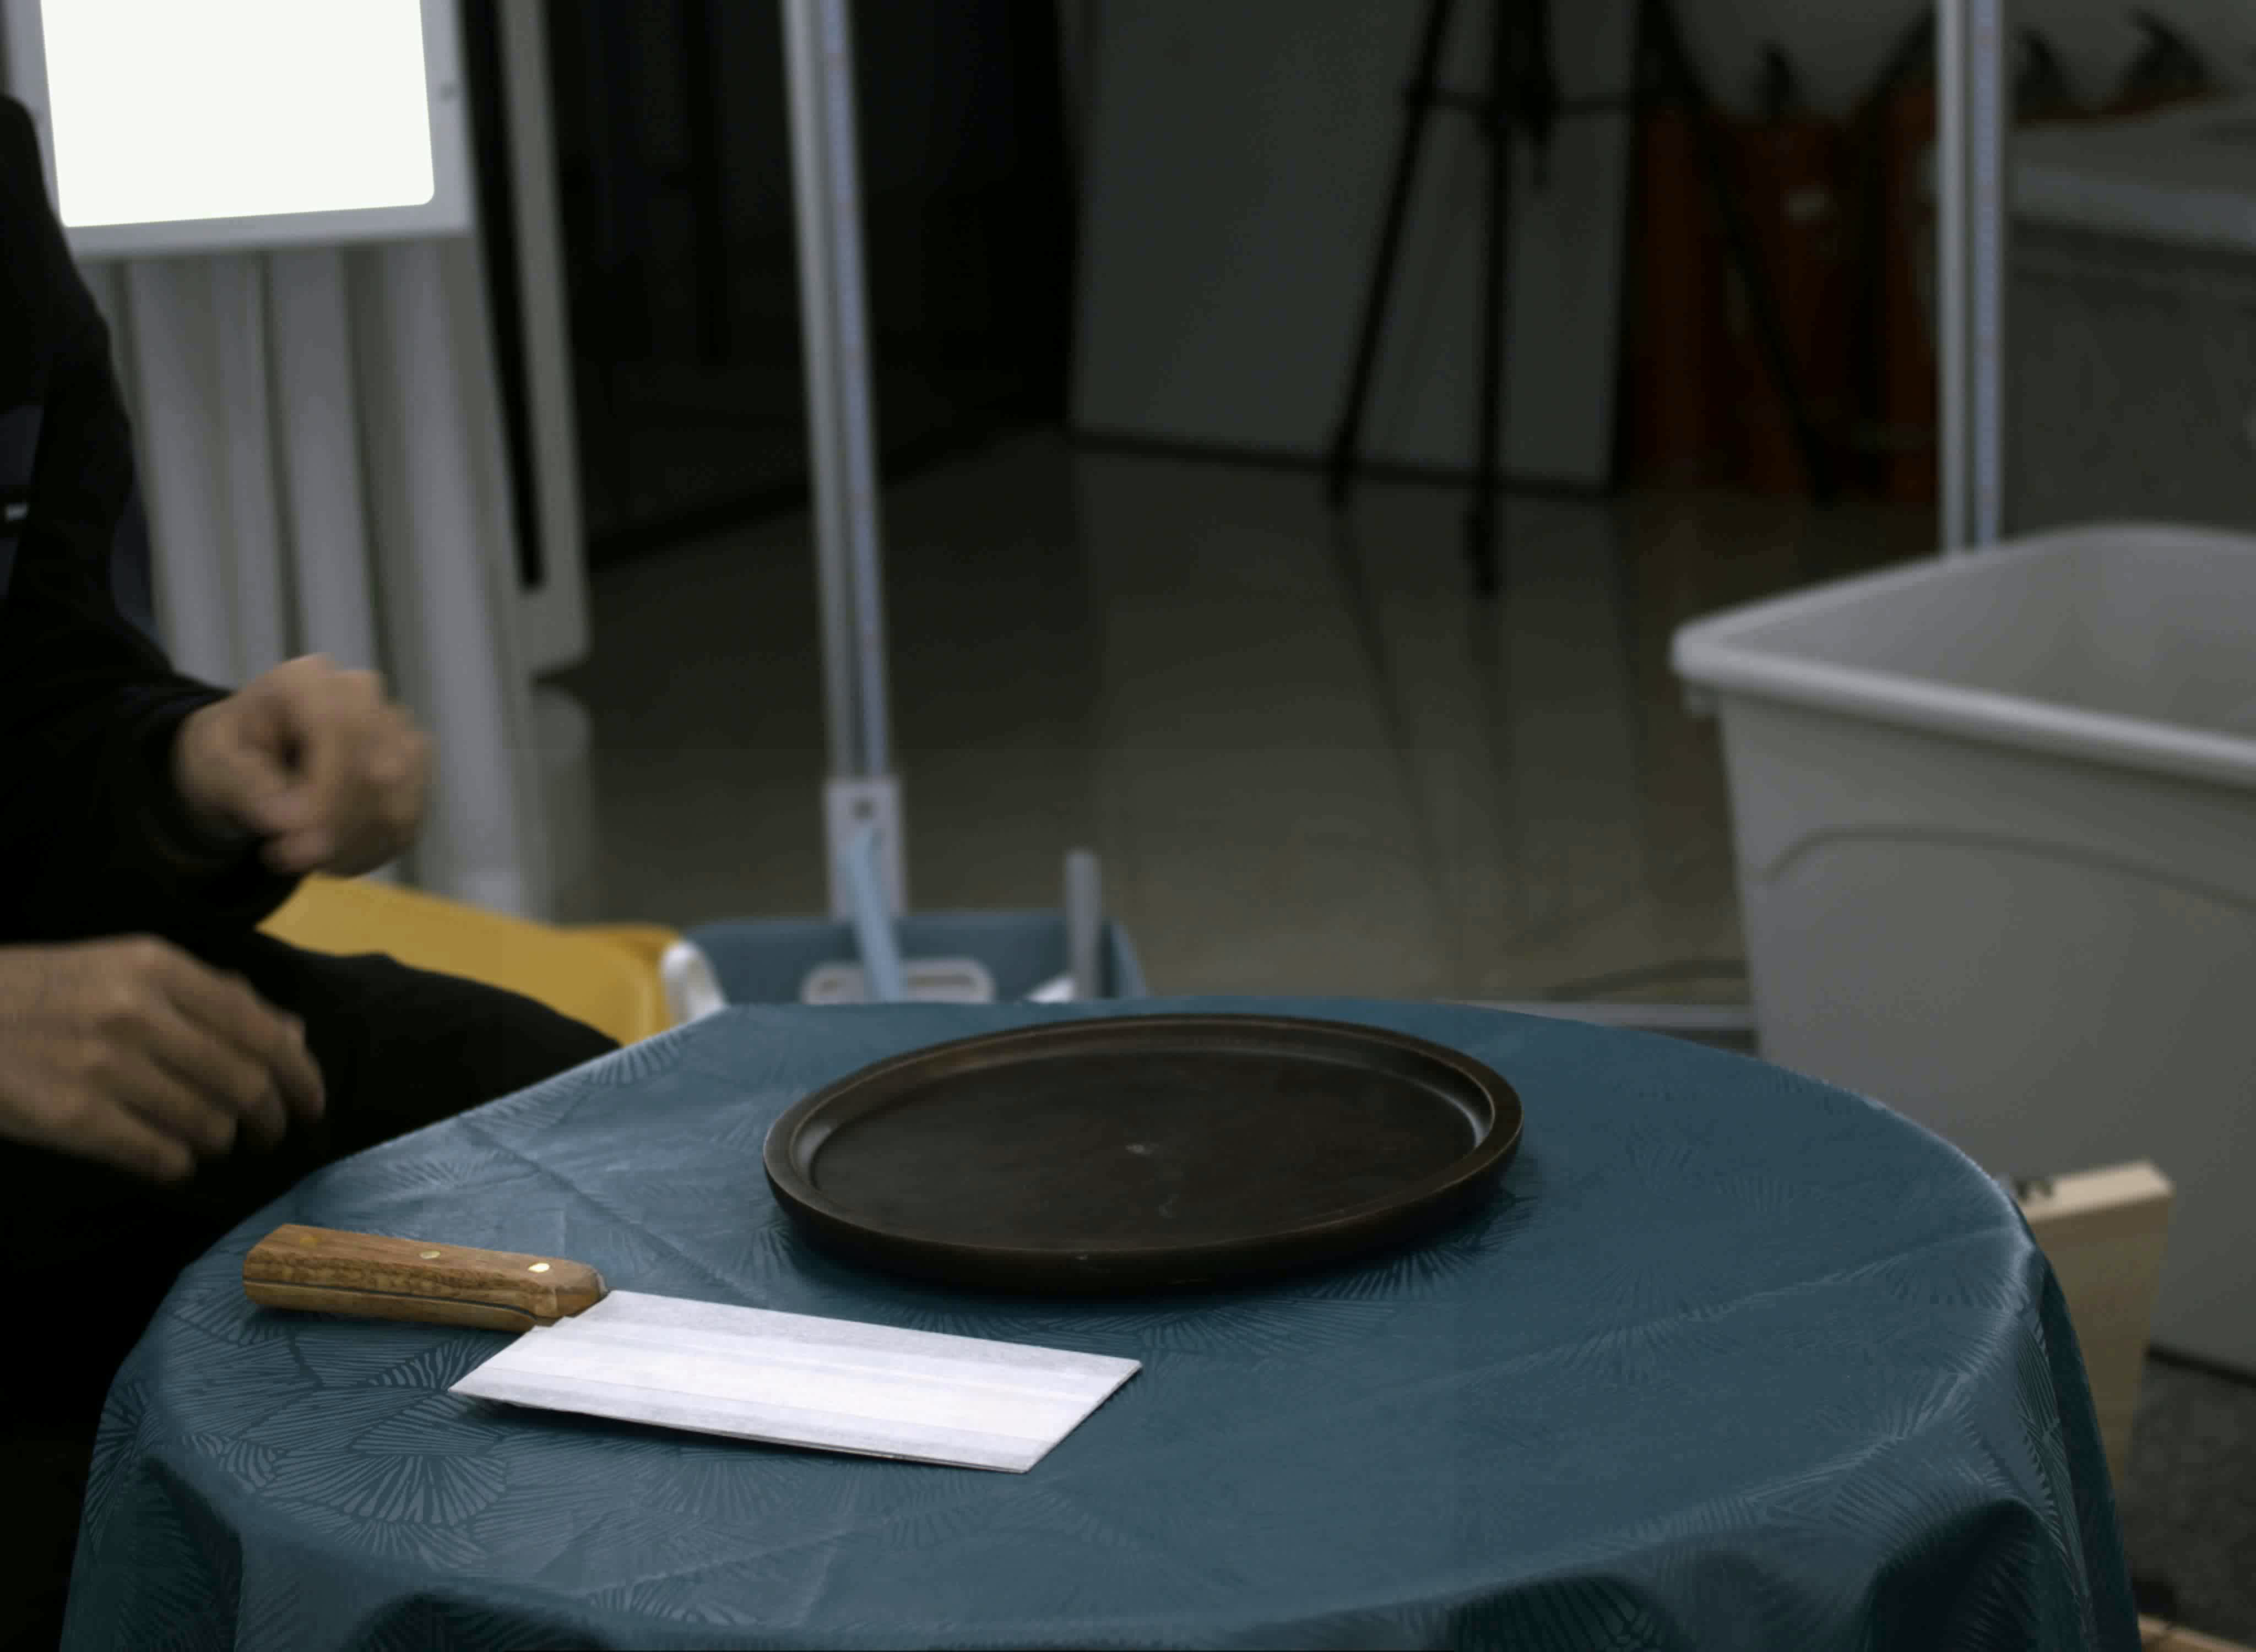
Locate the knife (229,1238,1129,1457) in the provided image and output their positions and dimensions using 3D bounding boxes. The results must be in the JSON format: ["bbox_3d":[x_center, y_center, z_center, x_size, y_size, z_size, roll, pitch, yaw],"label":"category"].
[{"bbox_3d":[-0.149,0.160,1.627,0.306,0.021,0.092,5,18,24],"label":"knife"}]

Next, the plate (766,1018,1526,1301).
[{"bbox_3d":[0.006,0.107,1.772,0.251,0.029,0.255,-3,13,0],"label":"plate"}]
